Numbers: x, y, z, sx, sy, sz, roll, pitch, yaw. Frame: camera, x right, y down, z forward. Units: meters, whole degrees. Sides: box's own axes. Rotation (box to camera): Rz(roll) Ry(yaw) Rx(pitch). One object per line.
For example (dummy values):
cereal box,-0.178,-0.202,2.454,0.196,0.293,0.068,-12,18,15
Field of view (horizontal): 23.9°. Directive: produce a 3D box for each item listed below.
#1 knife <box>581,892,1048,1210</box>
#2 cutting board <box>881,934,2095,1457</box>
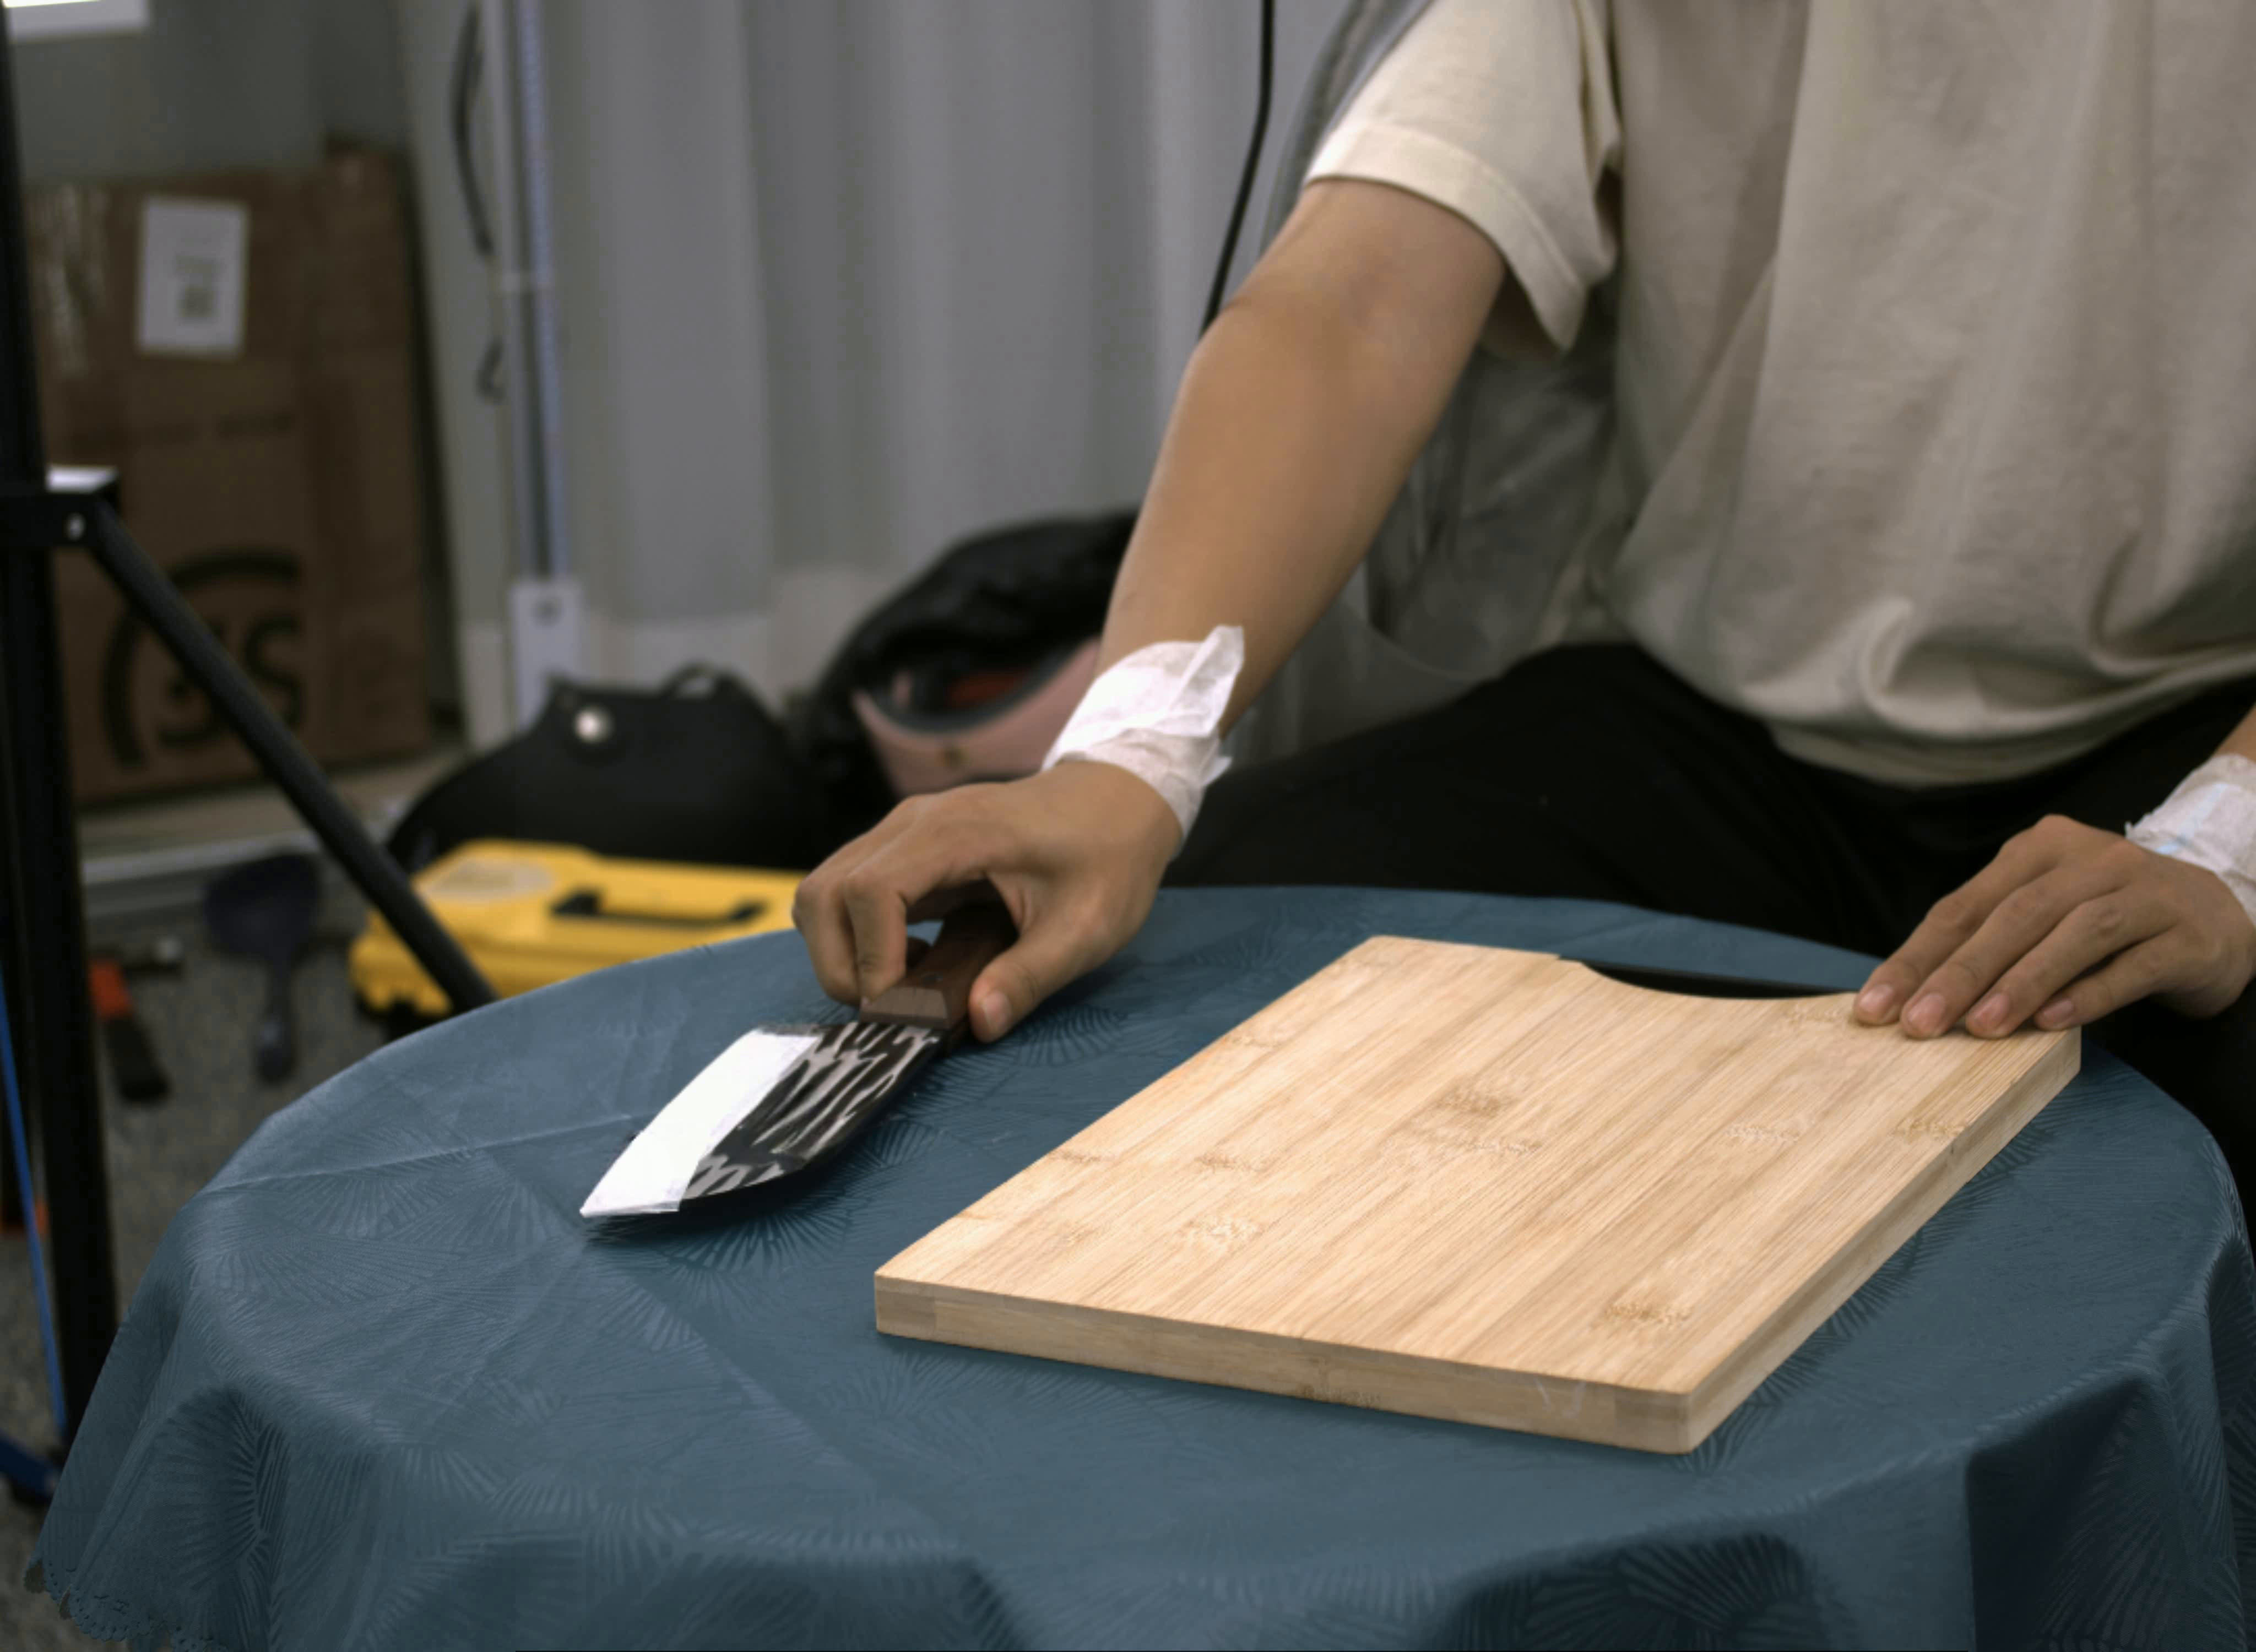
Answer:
knife,-0.093,0.071,1.660,0.069,0.024,0.296,1,16,17
cutting board,0.115,0.098,1.542,0.254,0.023,0.343,5,17,26
